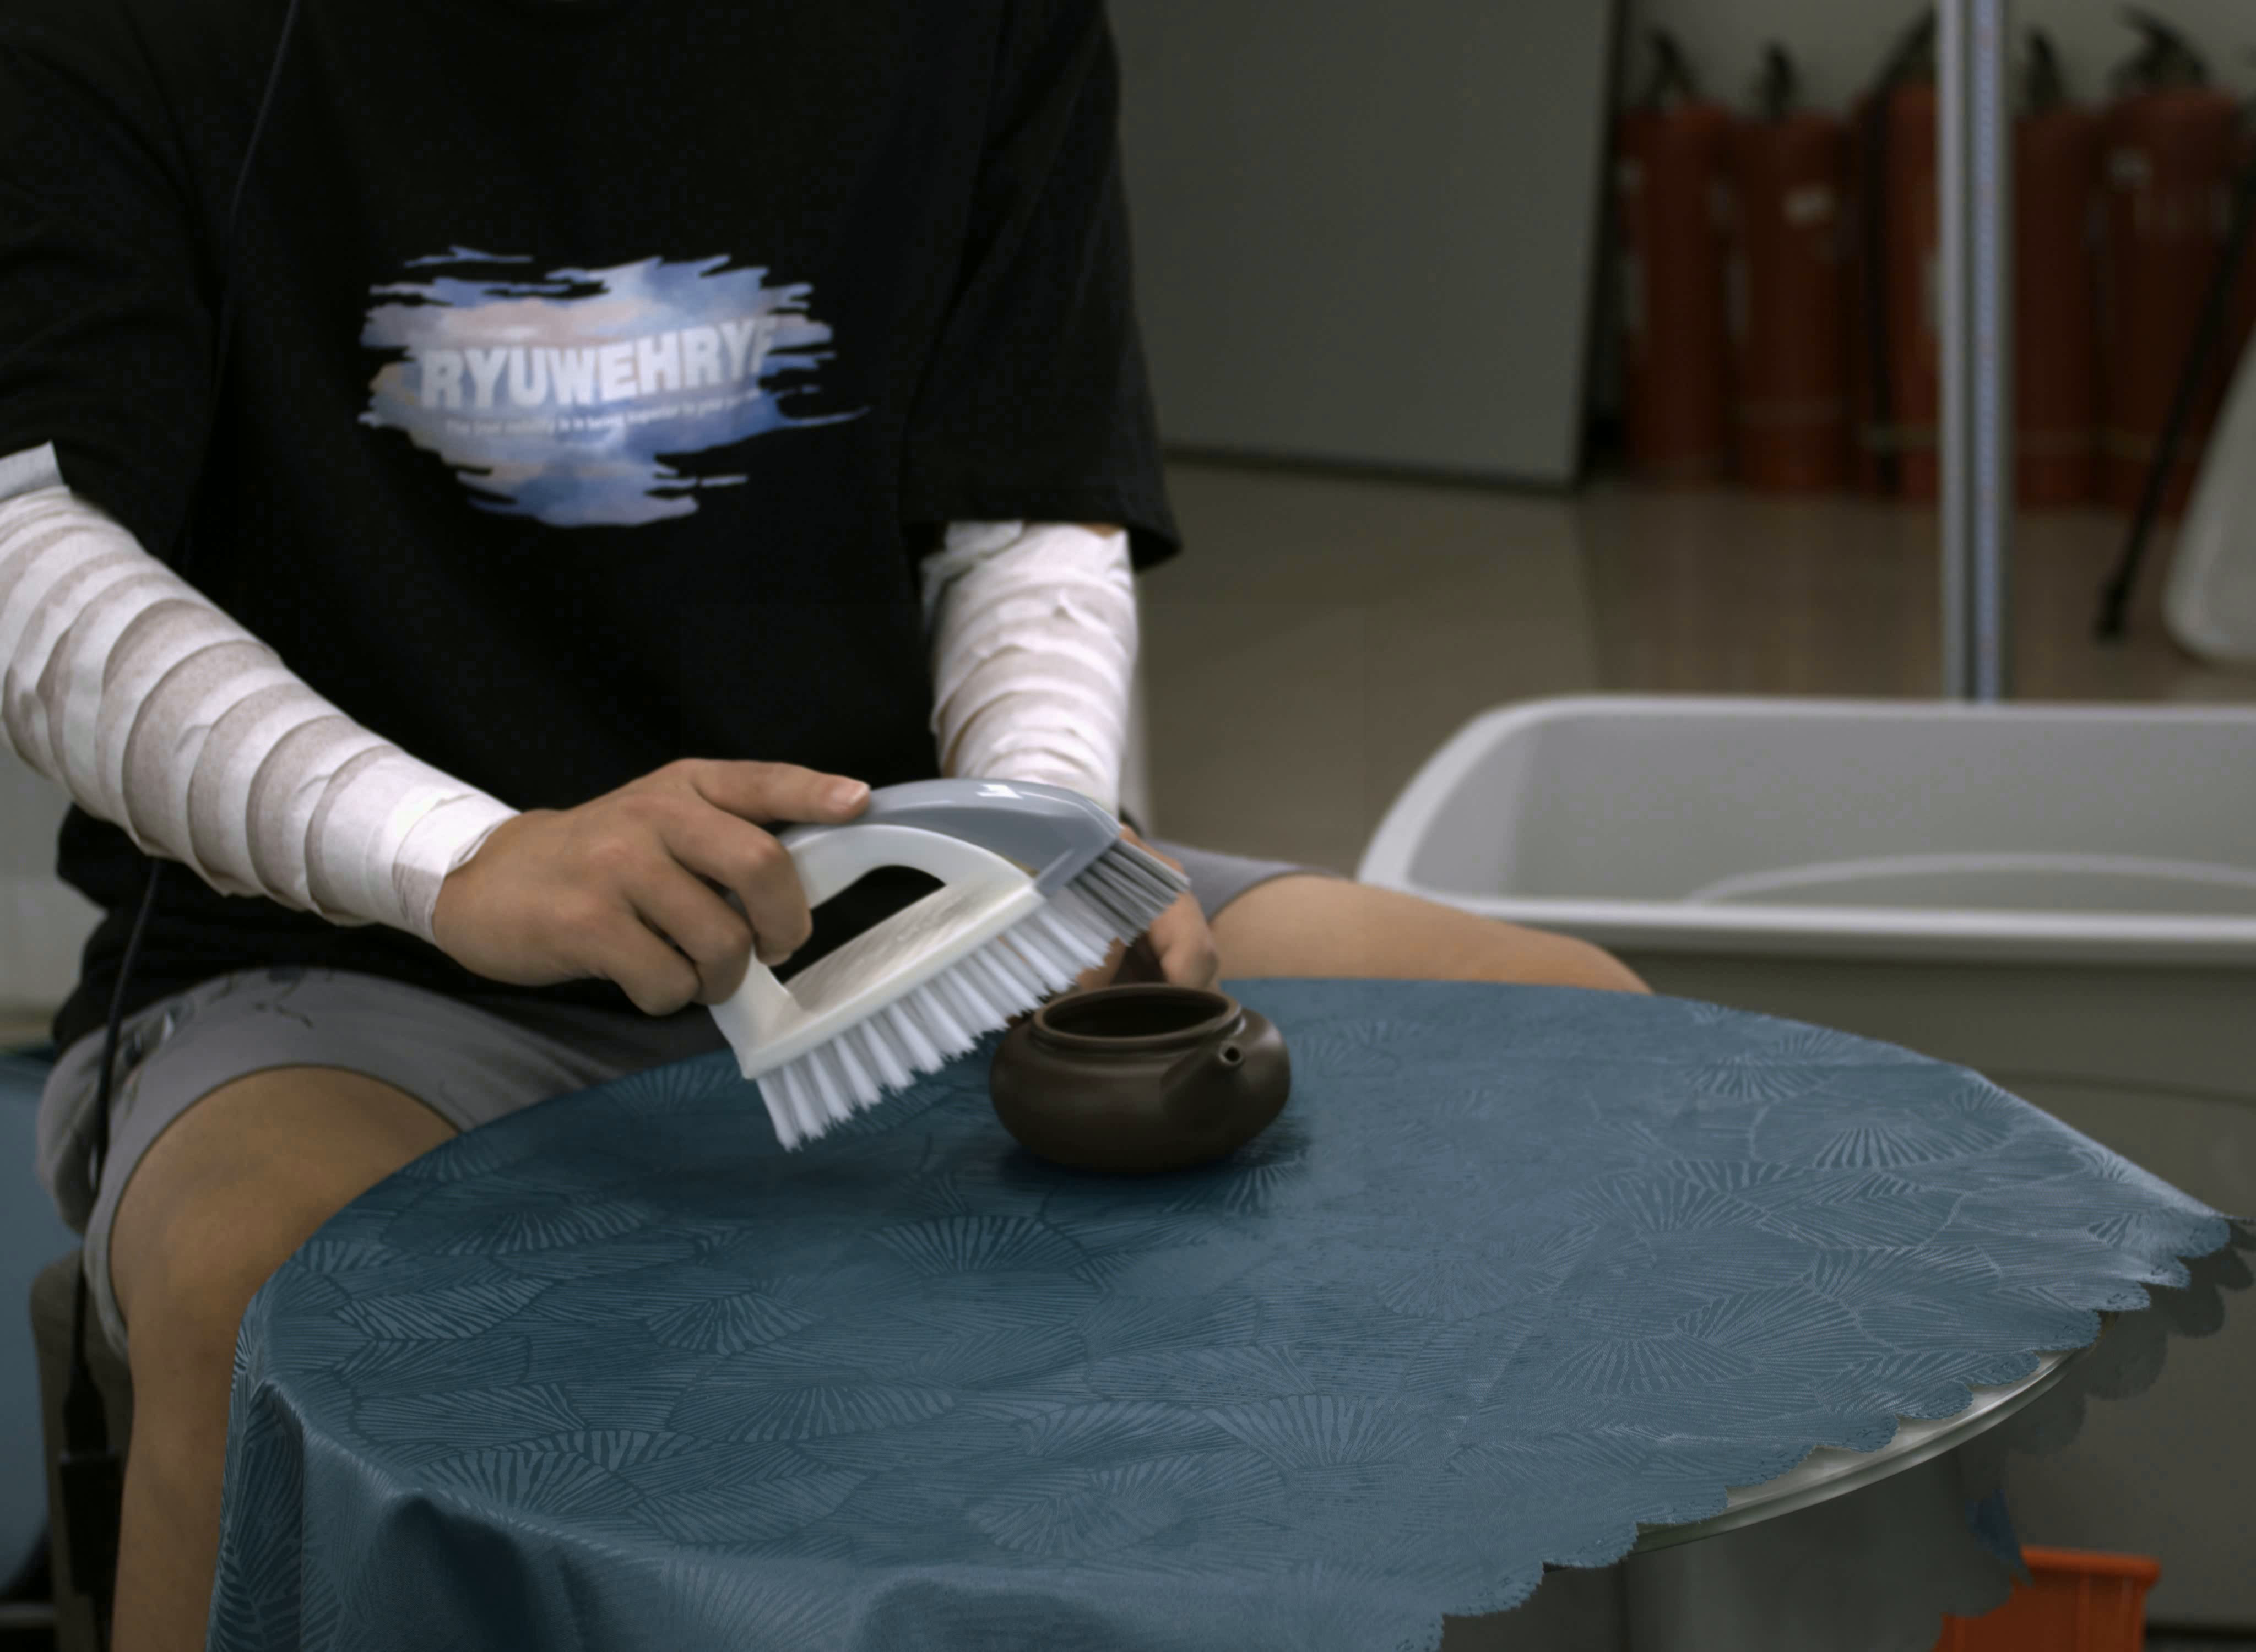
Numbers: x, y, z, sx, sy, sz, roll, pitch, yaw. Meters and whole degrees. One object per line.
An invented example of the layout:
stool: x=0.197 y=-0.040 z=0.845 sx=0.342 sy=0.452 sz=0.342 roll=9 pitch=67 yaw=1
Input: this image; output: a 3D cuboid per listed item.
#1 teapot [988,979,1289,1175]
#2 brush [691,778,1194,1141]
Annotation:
teapot: x=0.001 y=0.083 z=1.815 sx=0.100 sy=0.054 sz=0.155 roll=-10 pitch=15 yaw=-30
brush: x=-0.069 y=0.027 z=1.767 sx=0.176 sy=0.094 sz=0.061 roll=-28 pitch=21 yaw=30
